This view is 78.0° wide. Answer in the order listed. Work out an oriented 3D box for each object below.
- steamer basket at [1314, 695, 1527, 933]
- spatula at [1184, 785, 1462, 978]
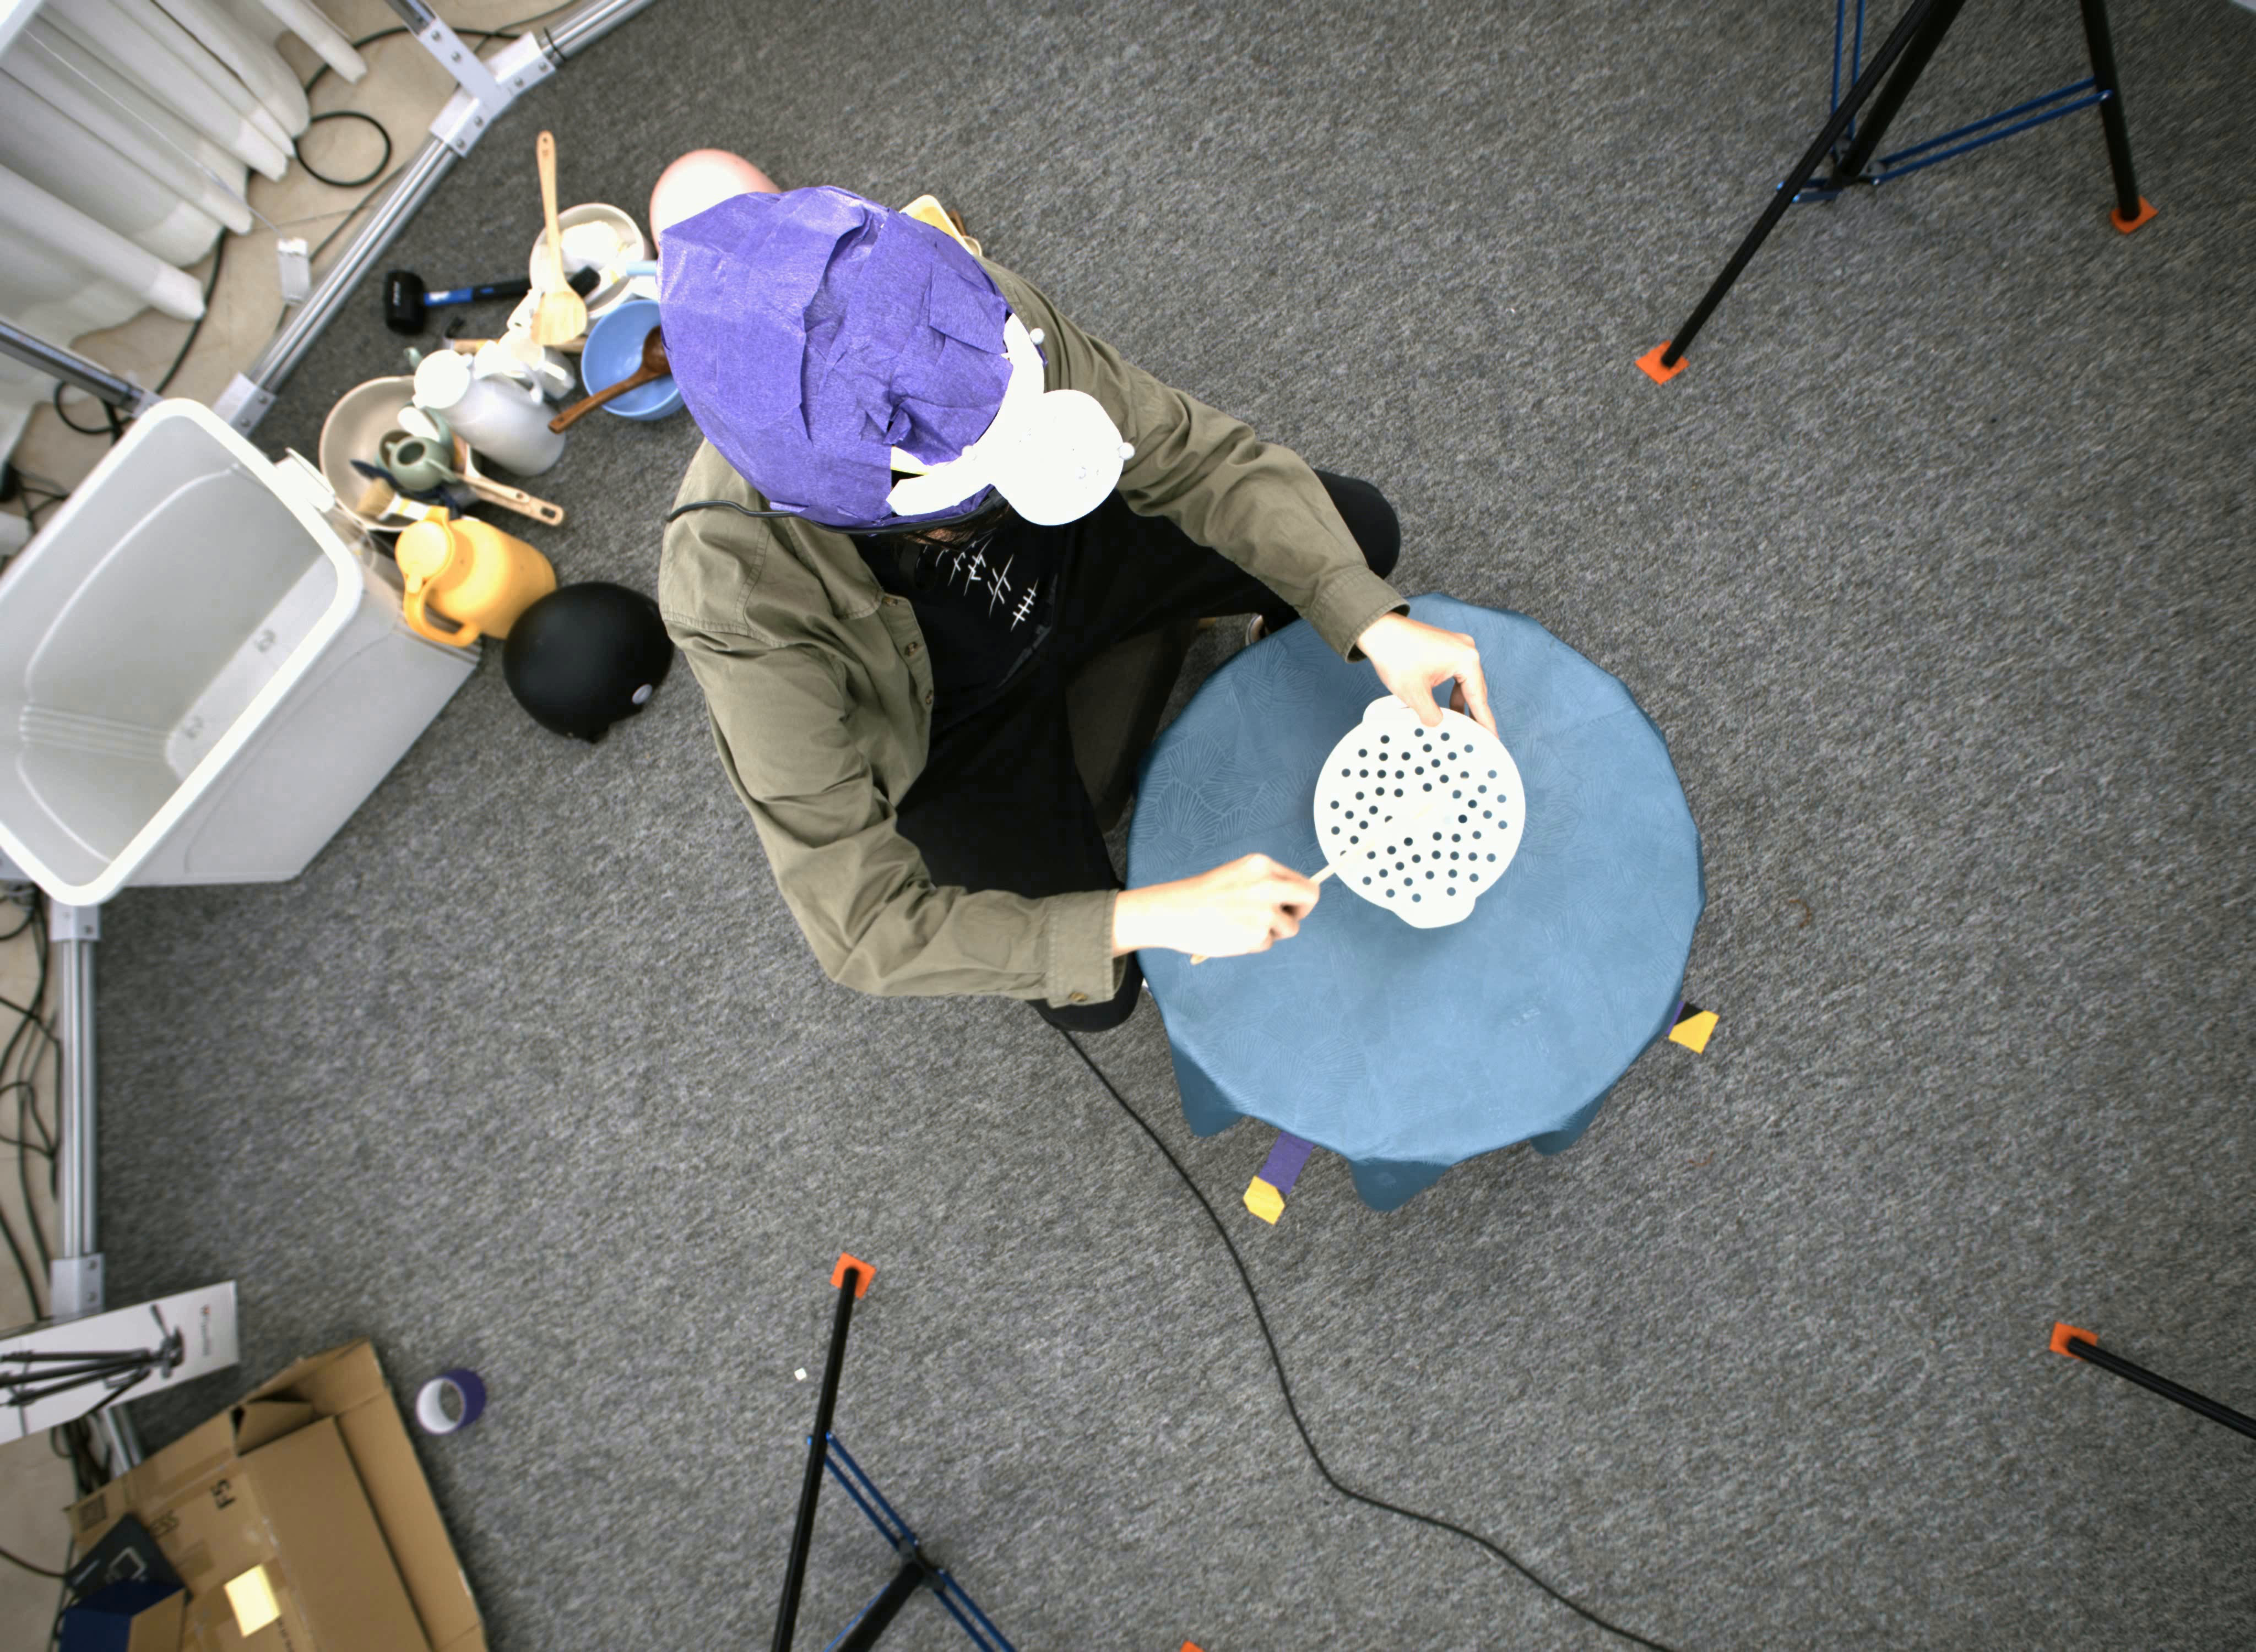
[{"bbox_3d":[0.284,-0.011,1.347,0.203,0.069,0.229,-11,85,11],"label":"steamer basket"},{"bbox_3d":[0.181,0.049,1.246,0.323,0.081,0.016,-32,71,-19],"label":"spatula"}]
